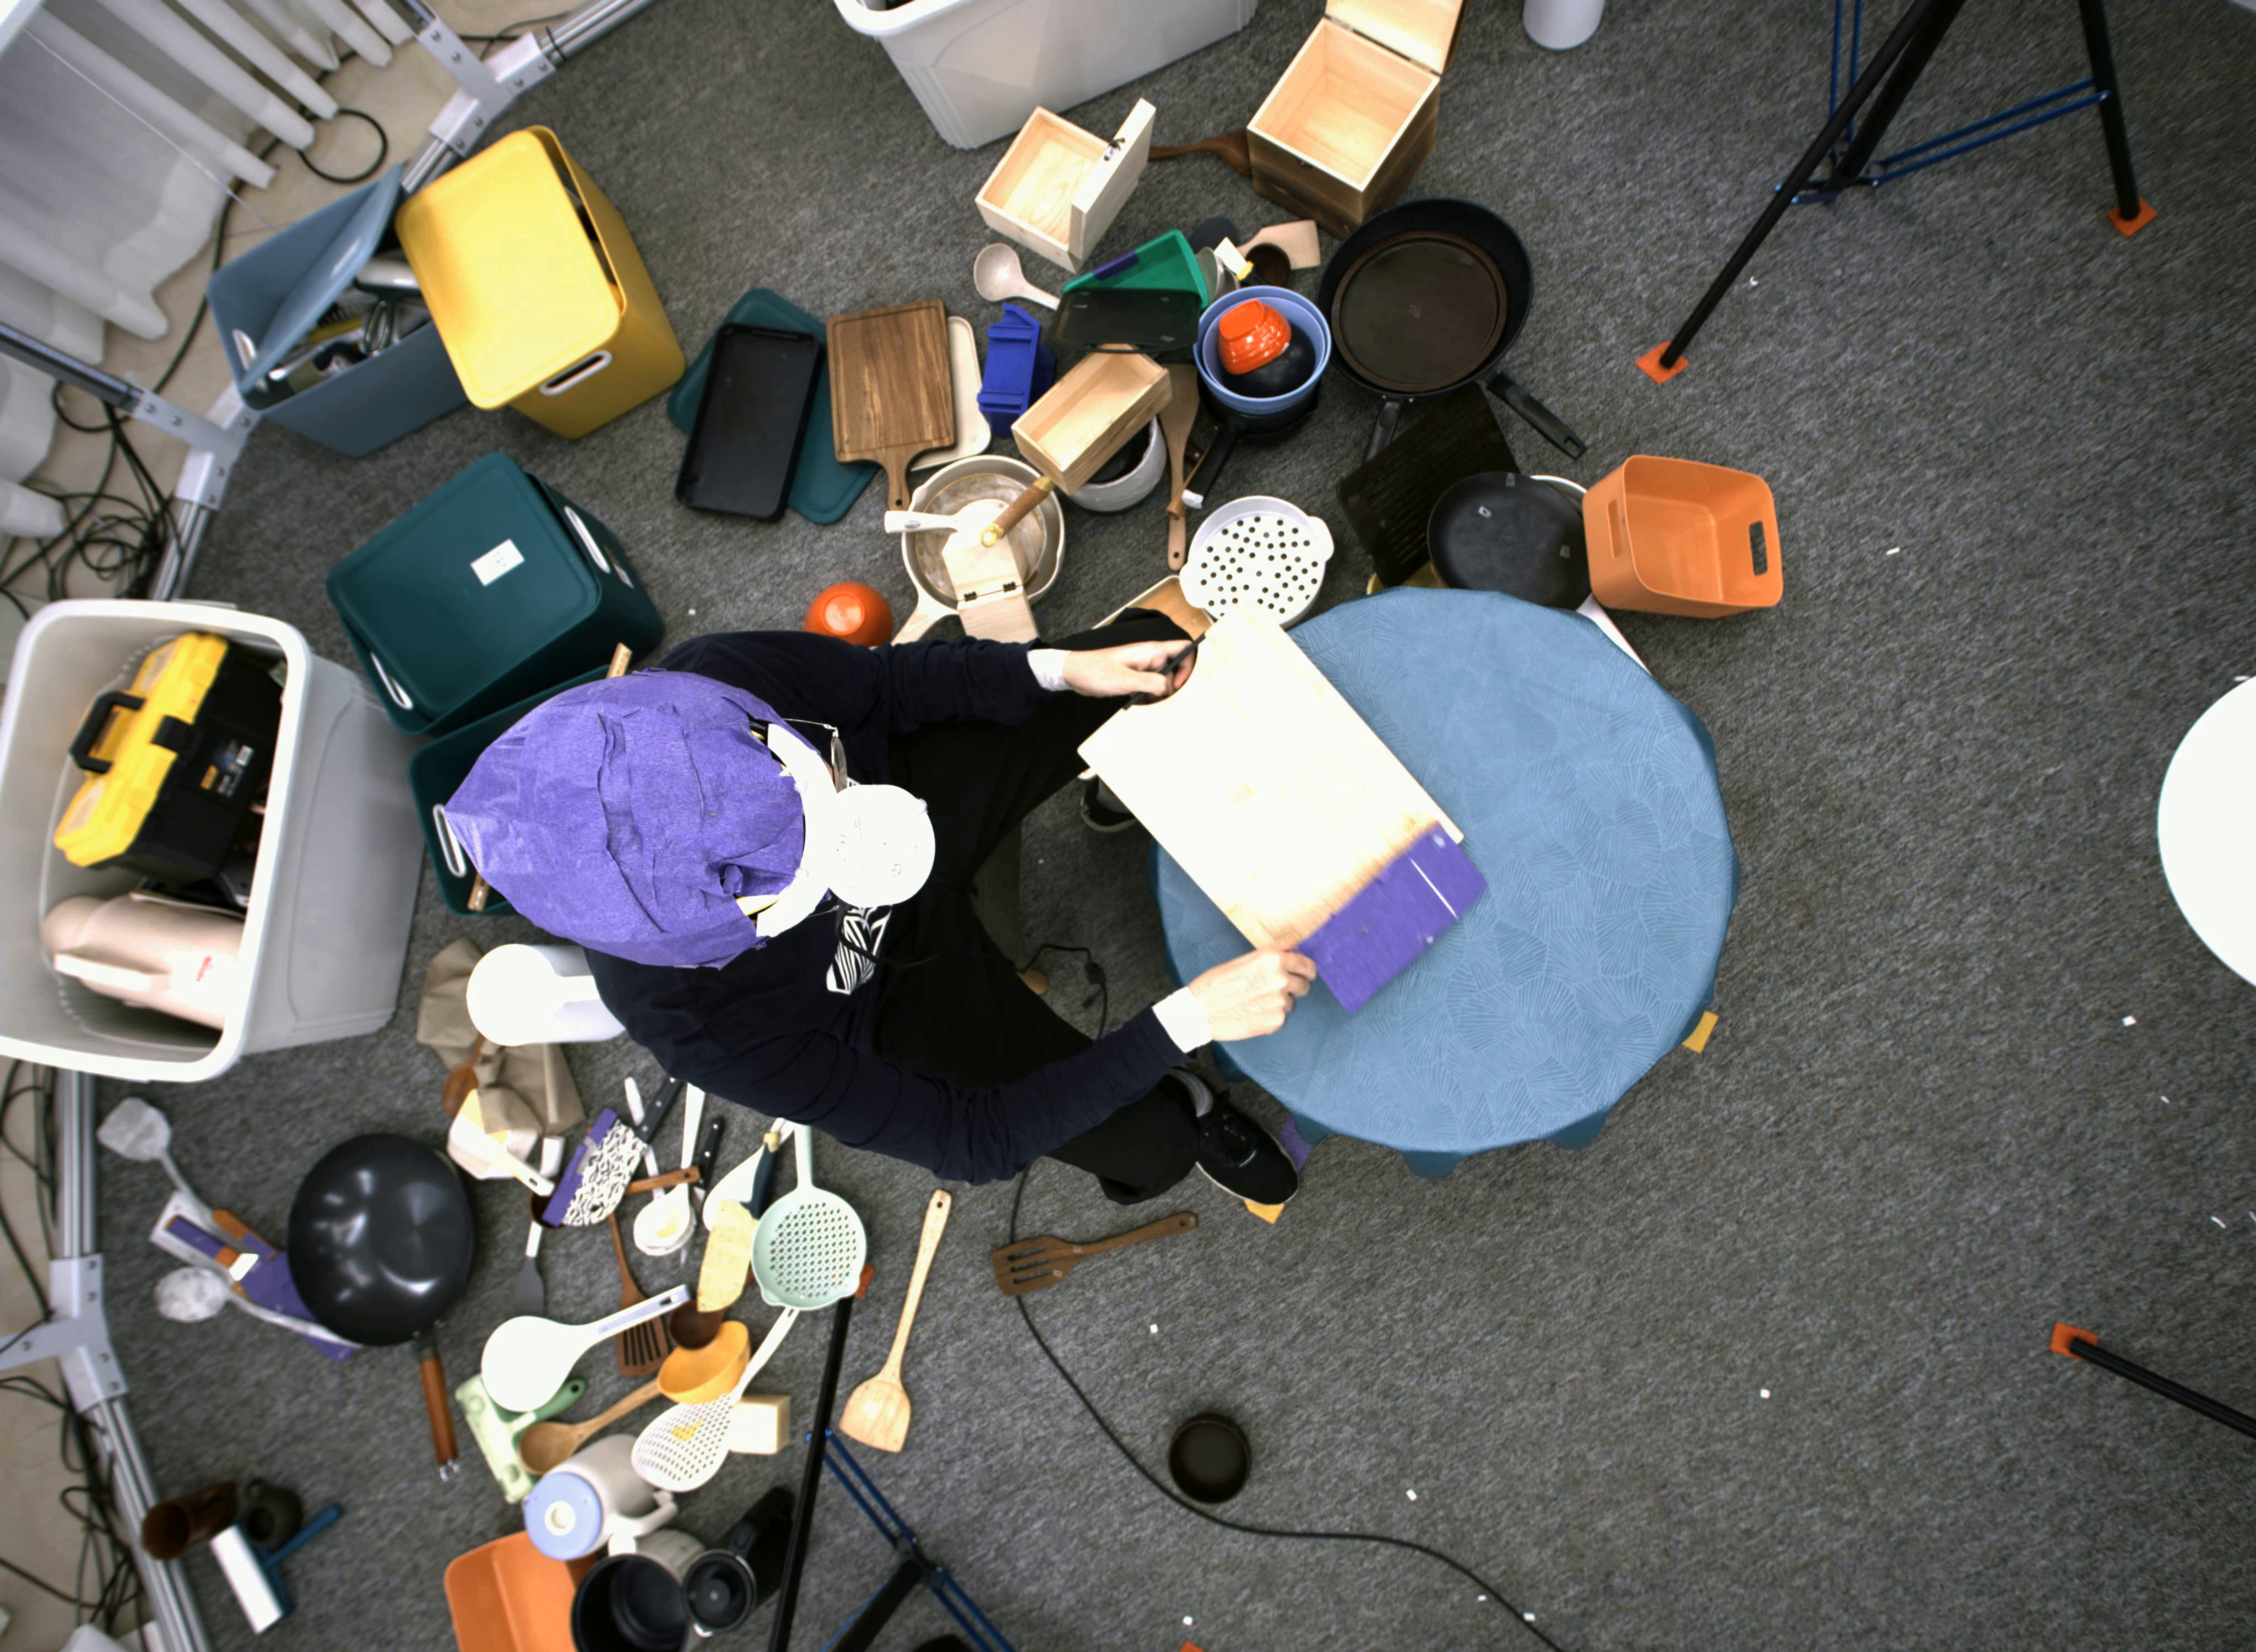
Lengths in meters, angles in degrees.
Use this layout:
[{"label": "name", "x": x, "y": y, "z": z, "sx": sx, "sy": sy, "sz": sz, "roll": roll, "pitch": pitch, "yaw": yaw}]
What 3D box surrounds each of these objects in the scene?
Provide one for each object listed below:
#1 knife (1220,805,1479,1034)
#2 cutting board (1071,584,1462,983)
[{"label": "knife", "x": 0.232, "y": 0.115, "z": 1.394, "sx": 0.313, "sy": 0.032, "sz": 0.104, "roll": -42, "pitch": 97, "yaw": -10}, {"label": "cutting board", "x": 0.145, "y": -0.039, "z": 1.431, "sx": 0.252, "sy": 0.023, "sz": 0.350, "roll": -43, "pitch": 97, "yaw": 6}]
